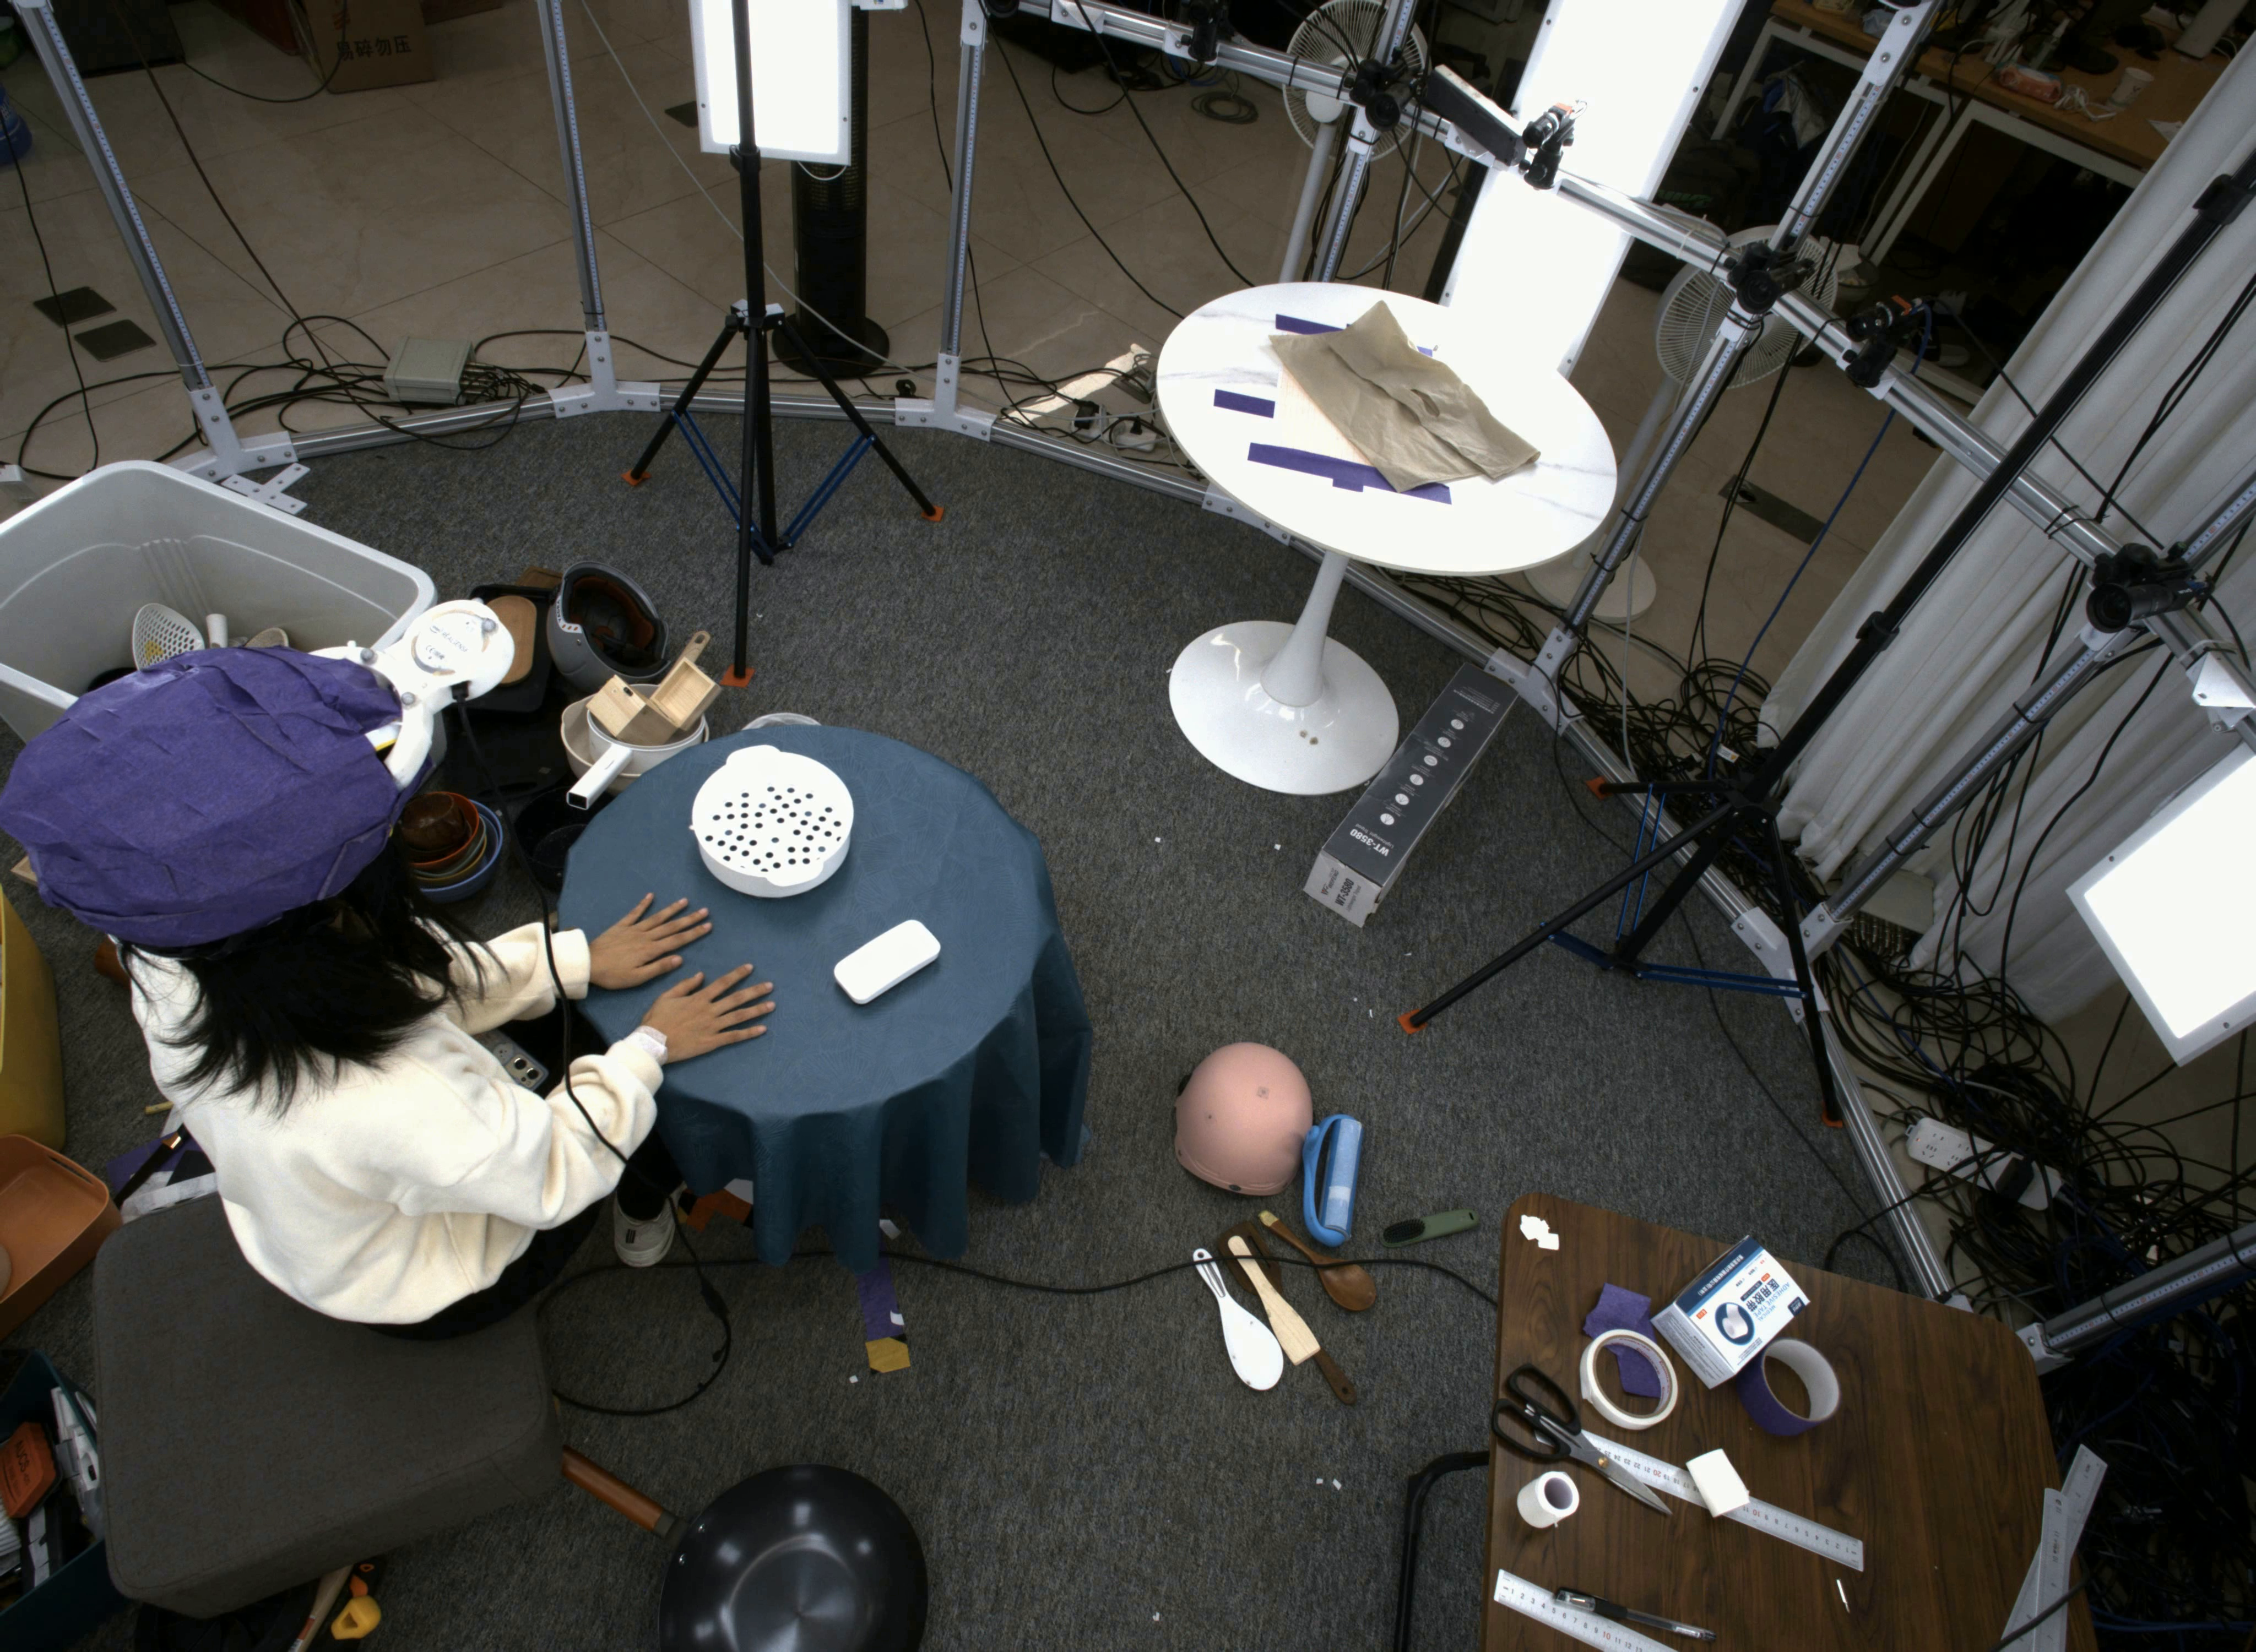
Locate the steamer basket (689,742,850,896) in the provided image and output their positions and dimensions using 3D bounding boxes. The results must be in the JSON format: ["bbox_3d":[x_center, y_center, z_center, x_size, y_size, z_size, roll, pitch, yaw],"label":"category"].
[{"bbox_3d":[-0.460,-0.005,1.670,0.203,0.071,0.224,-16,58,-24],"label":"steamer basket"}]

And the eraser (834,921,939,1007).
[{"bbox_3d":[-0.299,0.166,1.607,0.132,0.035,0.062,-31,67,-32],"label":"eraser"}]
